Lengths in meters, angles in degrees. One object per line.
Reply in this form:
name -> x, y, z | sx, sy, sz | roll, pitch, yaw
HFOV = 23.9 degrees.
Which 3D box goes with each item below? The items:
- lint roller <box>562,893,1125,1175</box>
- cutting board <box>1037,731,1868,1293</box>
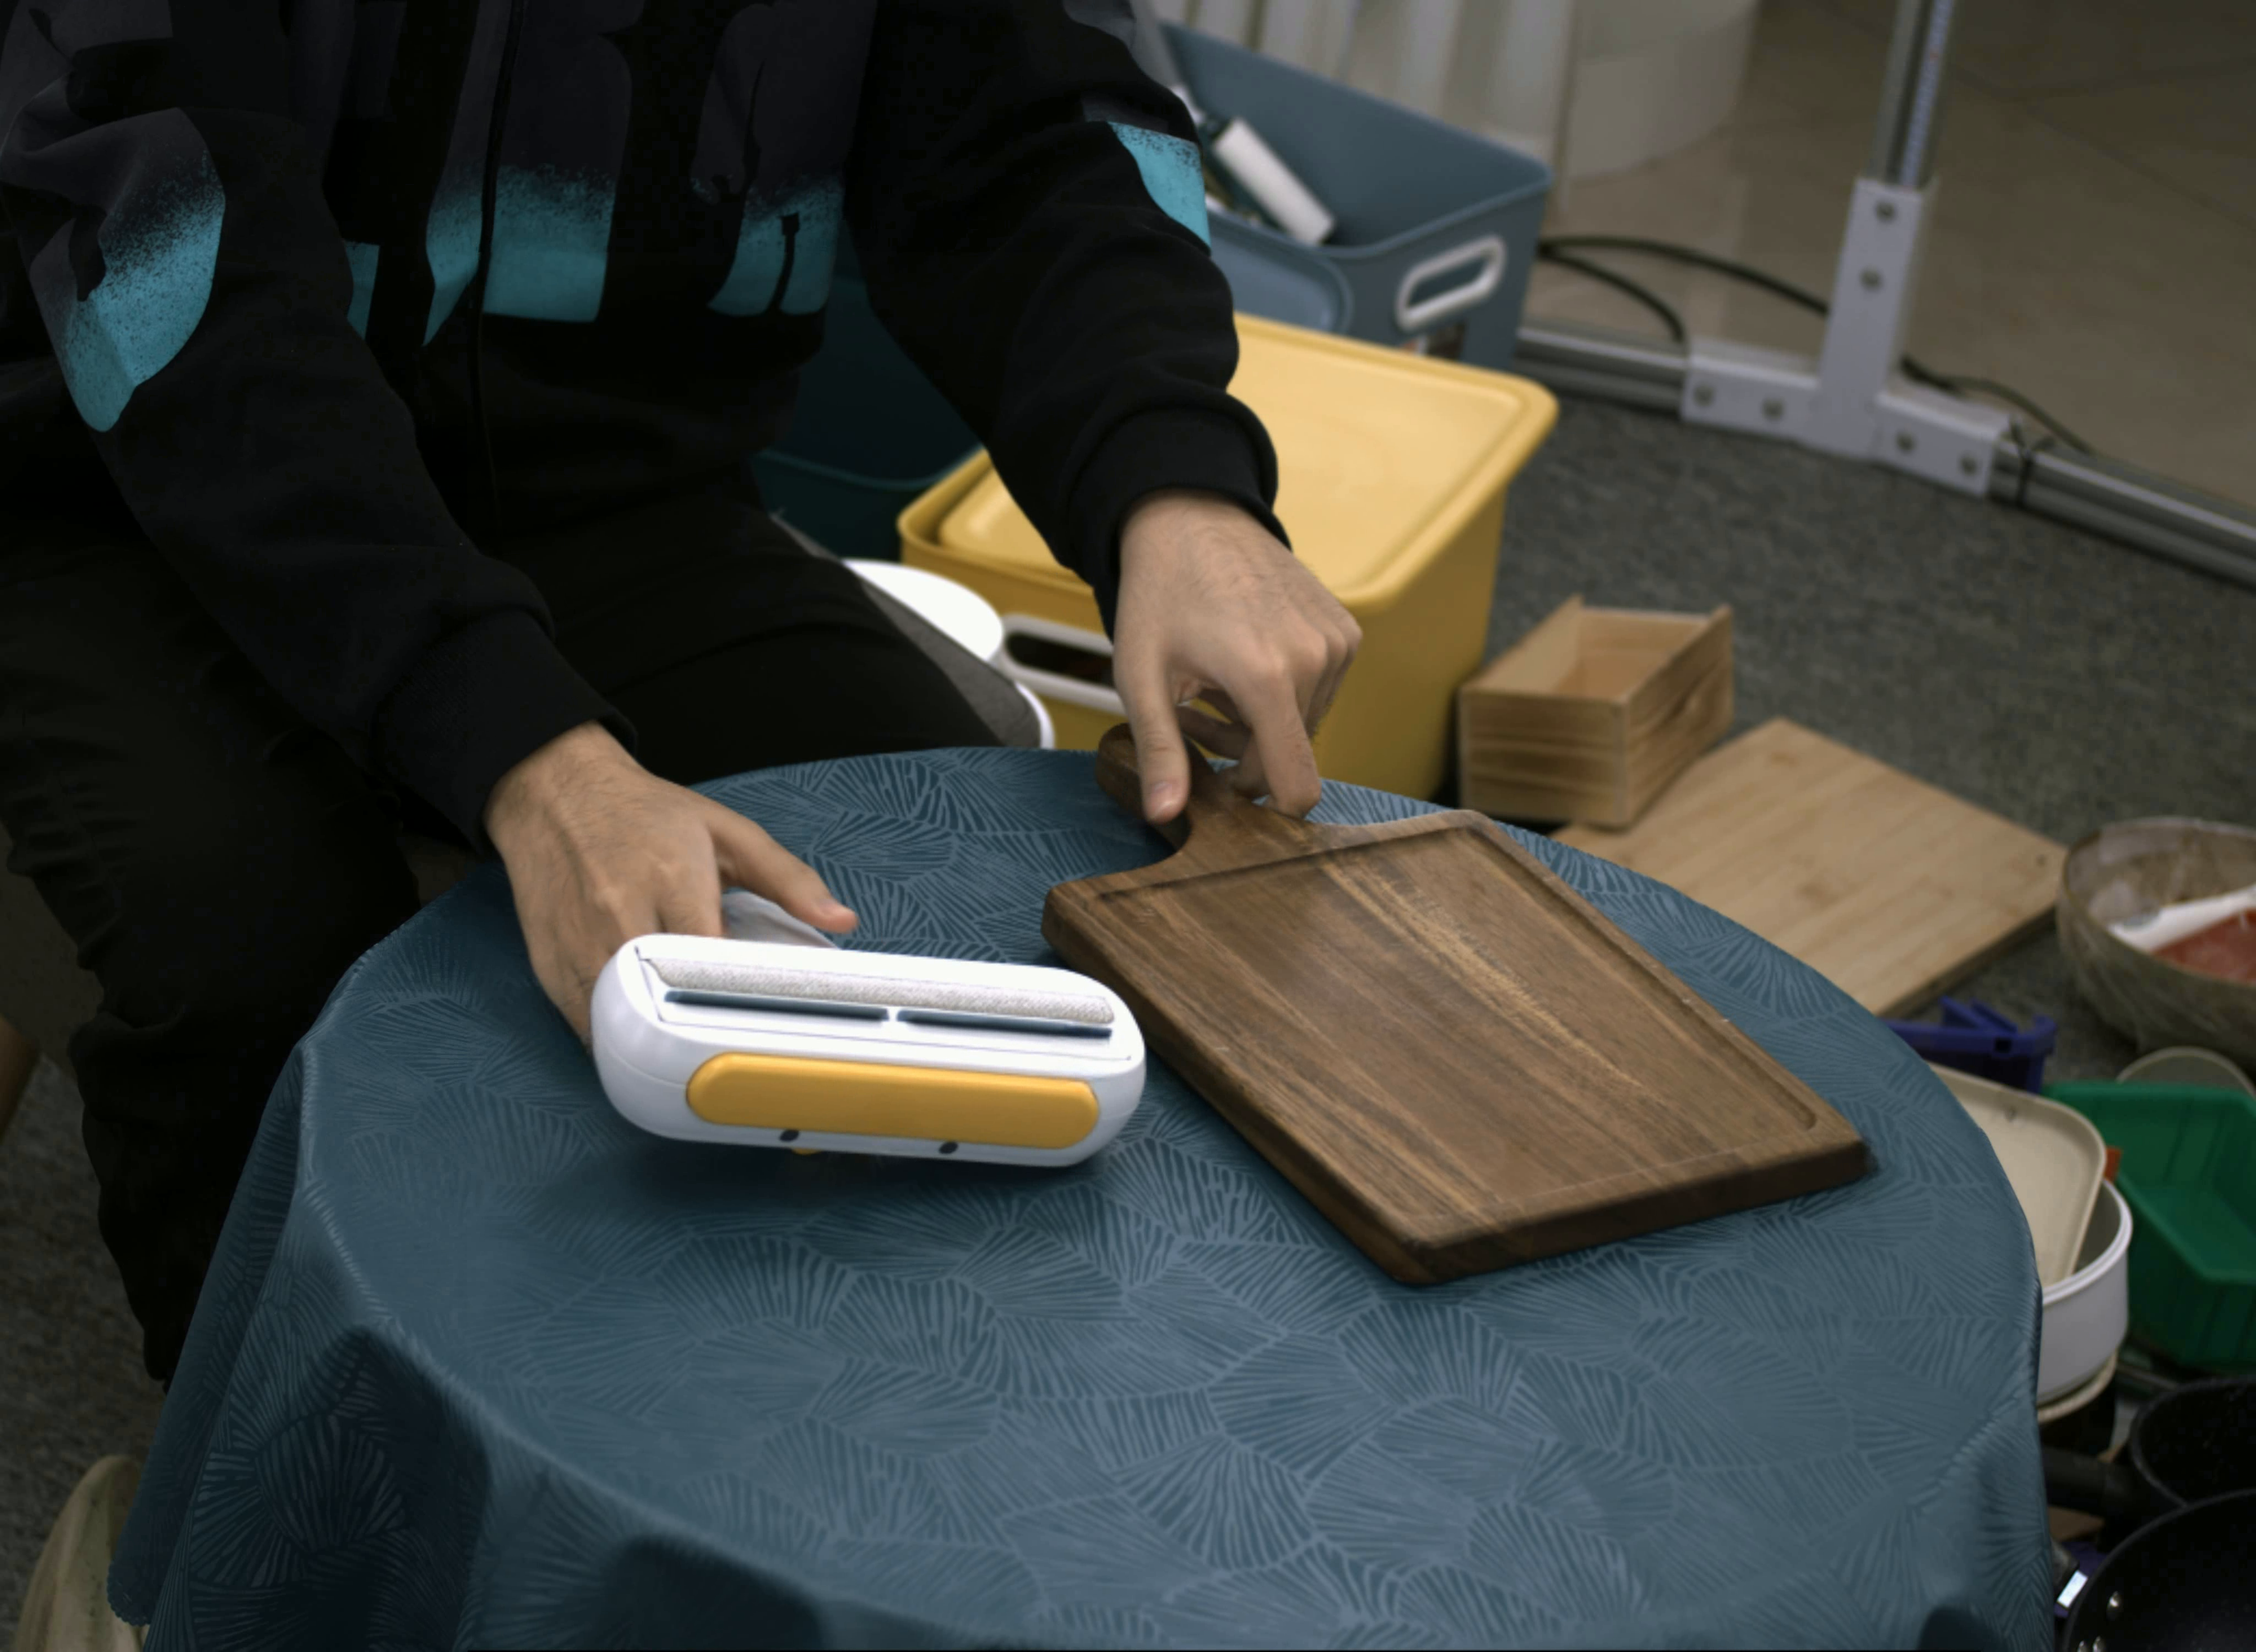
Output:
lint roller -> -0.111, 0.057, 1.833 | 0.191, 0.074, 0.194 | 4, 24, -18
cutting board -> 0.087, 0.052, 1.928 | 0.200, 0.023, 0.355 | -11, 33, -30
